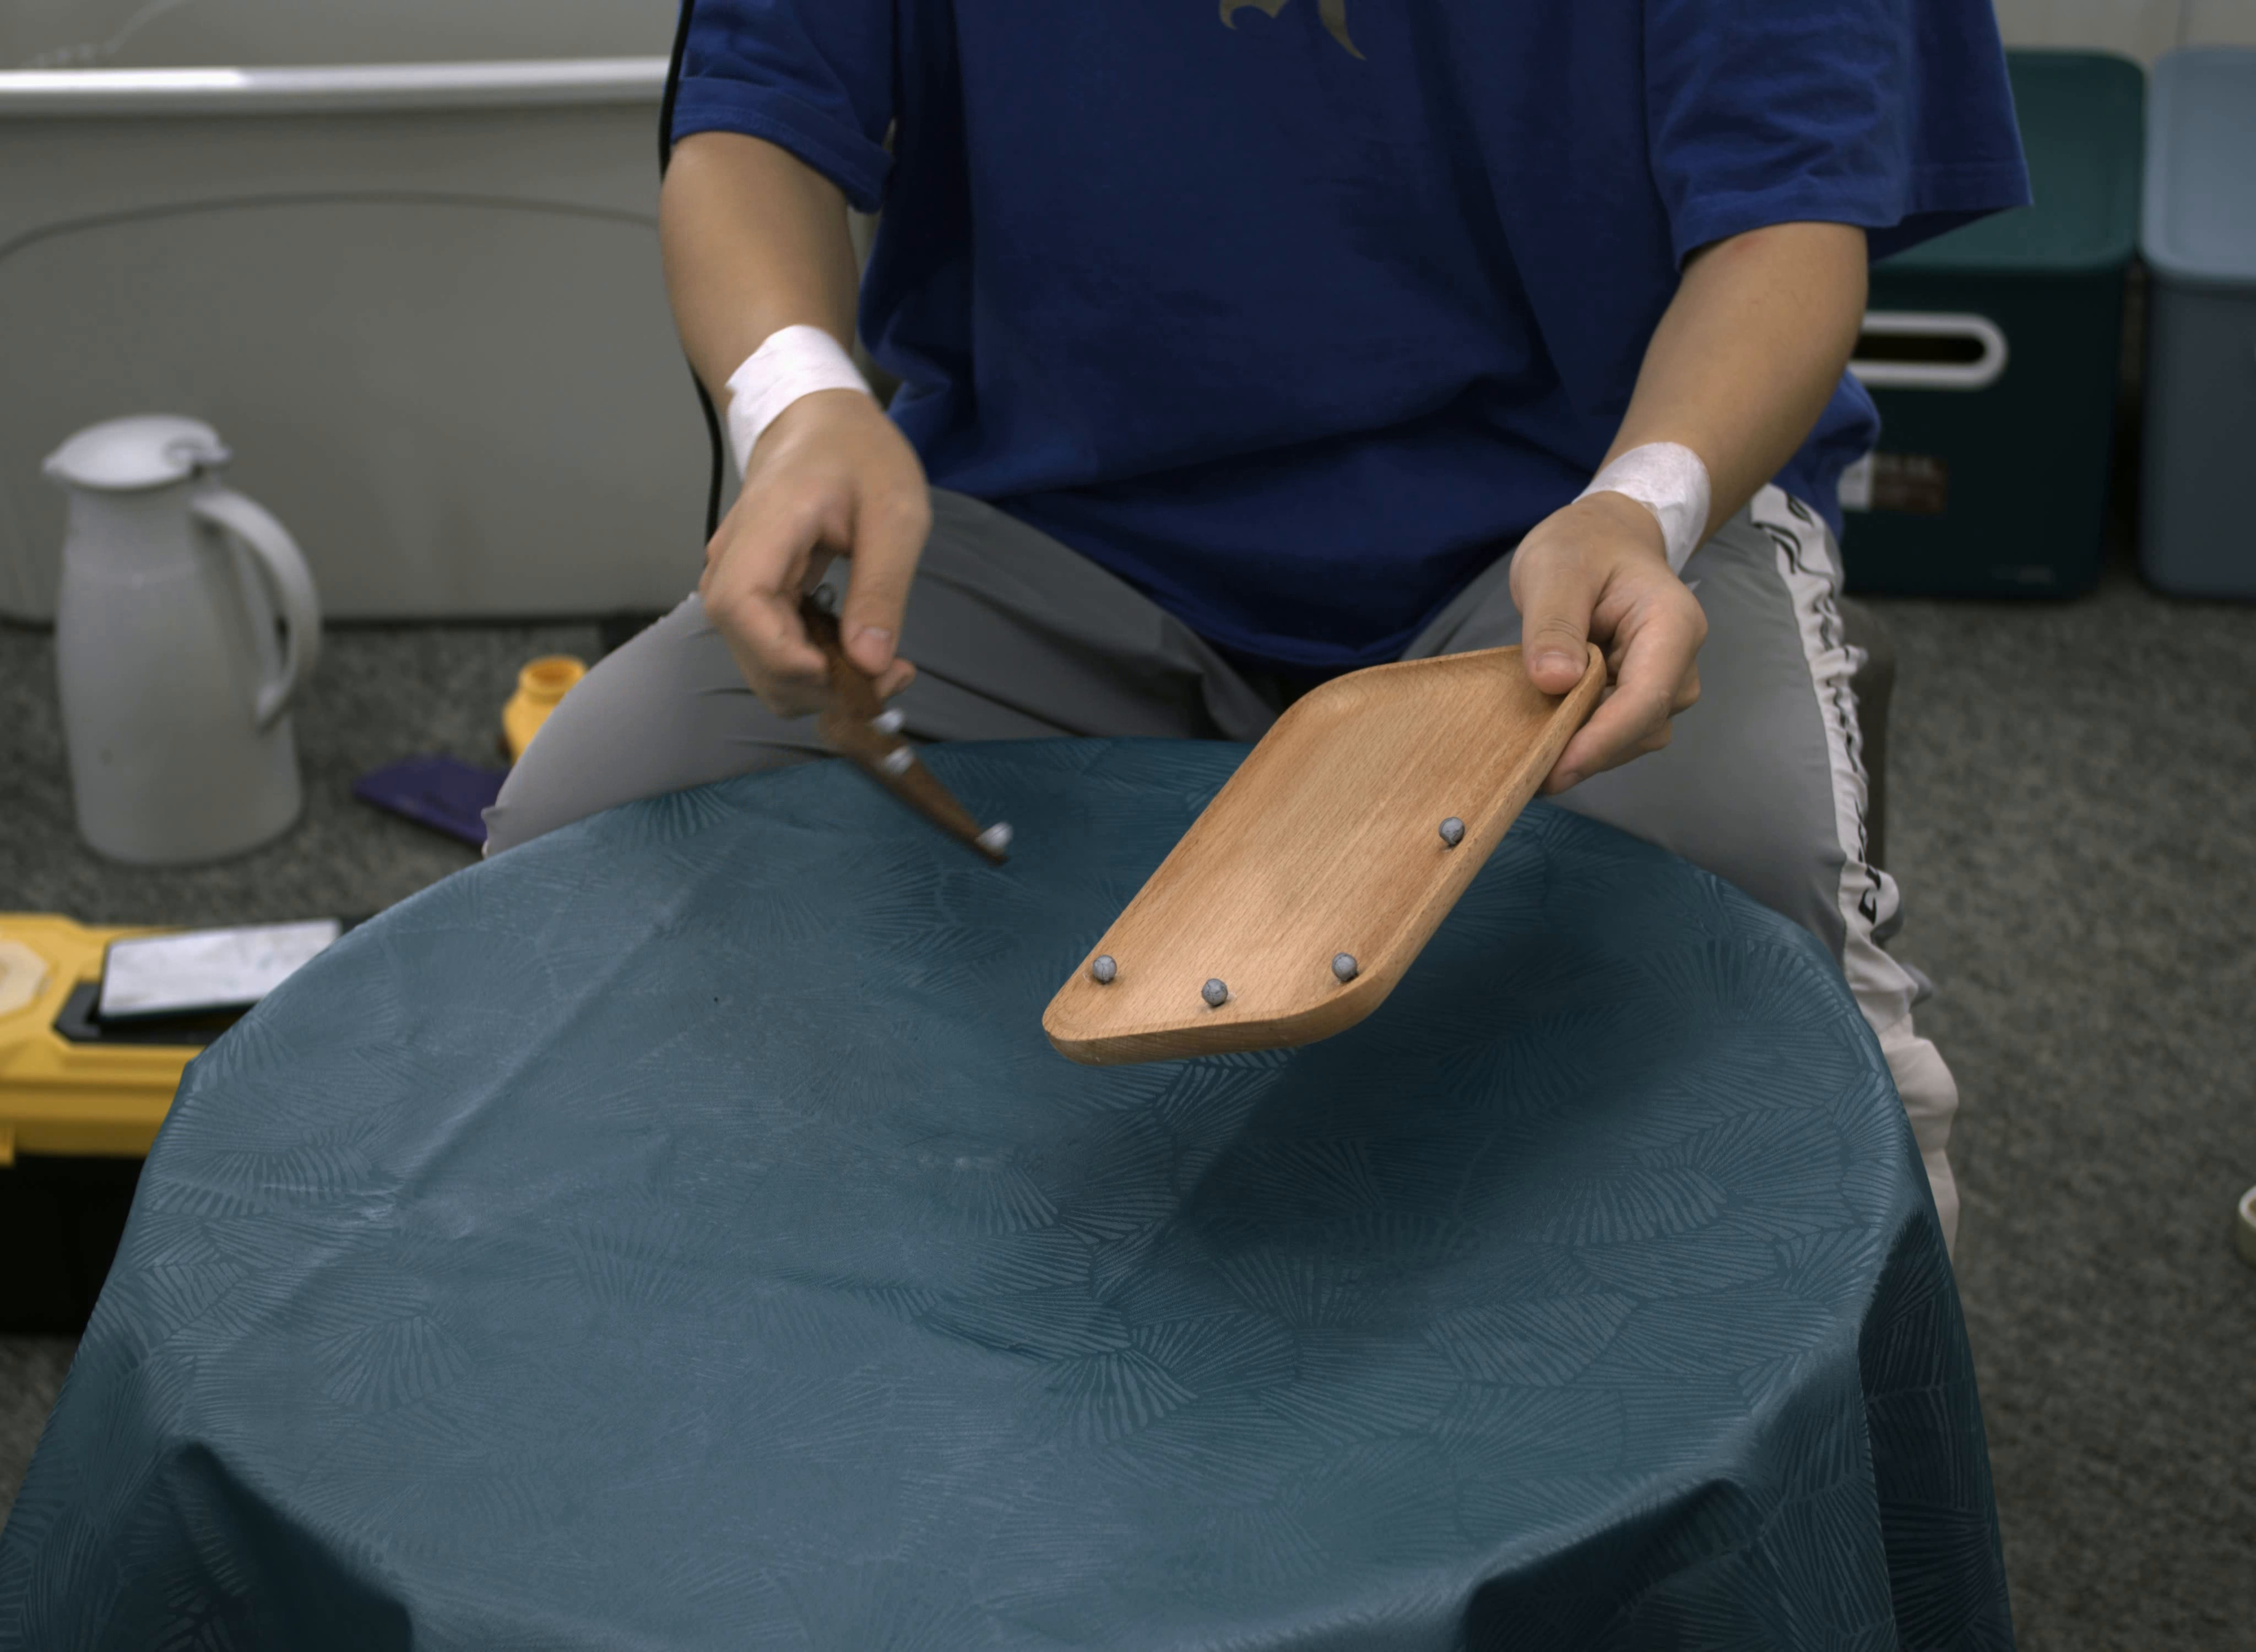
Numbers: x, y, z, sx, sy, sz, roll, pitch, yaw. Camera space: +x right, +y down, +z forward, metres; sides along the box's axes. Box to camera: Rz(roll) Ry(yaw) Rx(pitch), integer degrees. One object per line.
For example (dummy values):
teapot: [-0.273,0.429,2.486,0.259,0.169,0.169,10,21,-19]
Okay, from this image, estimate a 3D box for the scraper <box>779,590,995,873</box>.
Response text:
scraper: [-0.095,-0.039,1.952,0.075,0.011,0.213,34,12,-23]

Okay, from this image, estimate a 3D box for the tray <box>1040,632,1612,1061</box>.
tray: [0.070,0.005,1.877,0.129,0.023,0.255,-5,26,31]
